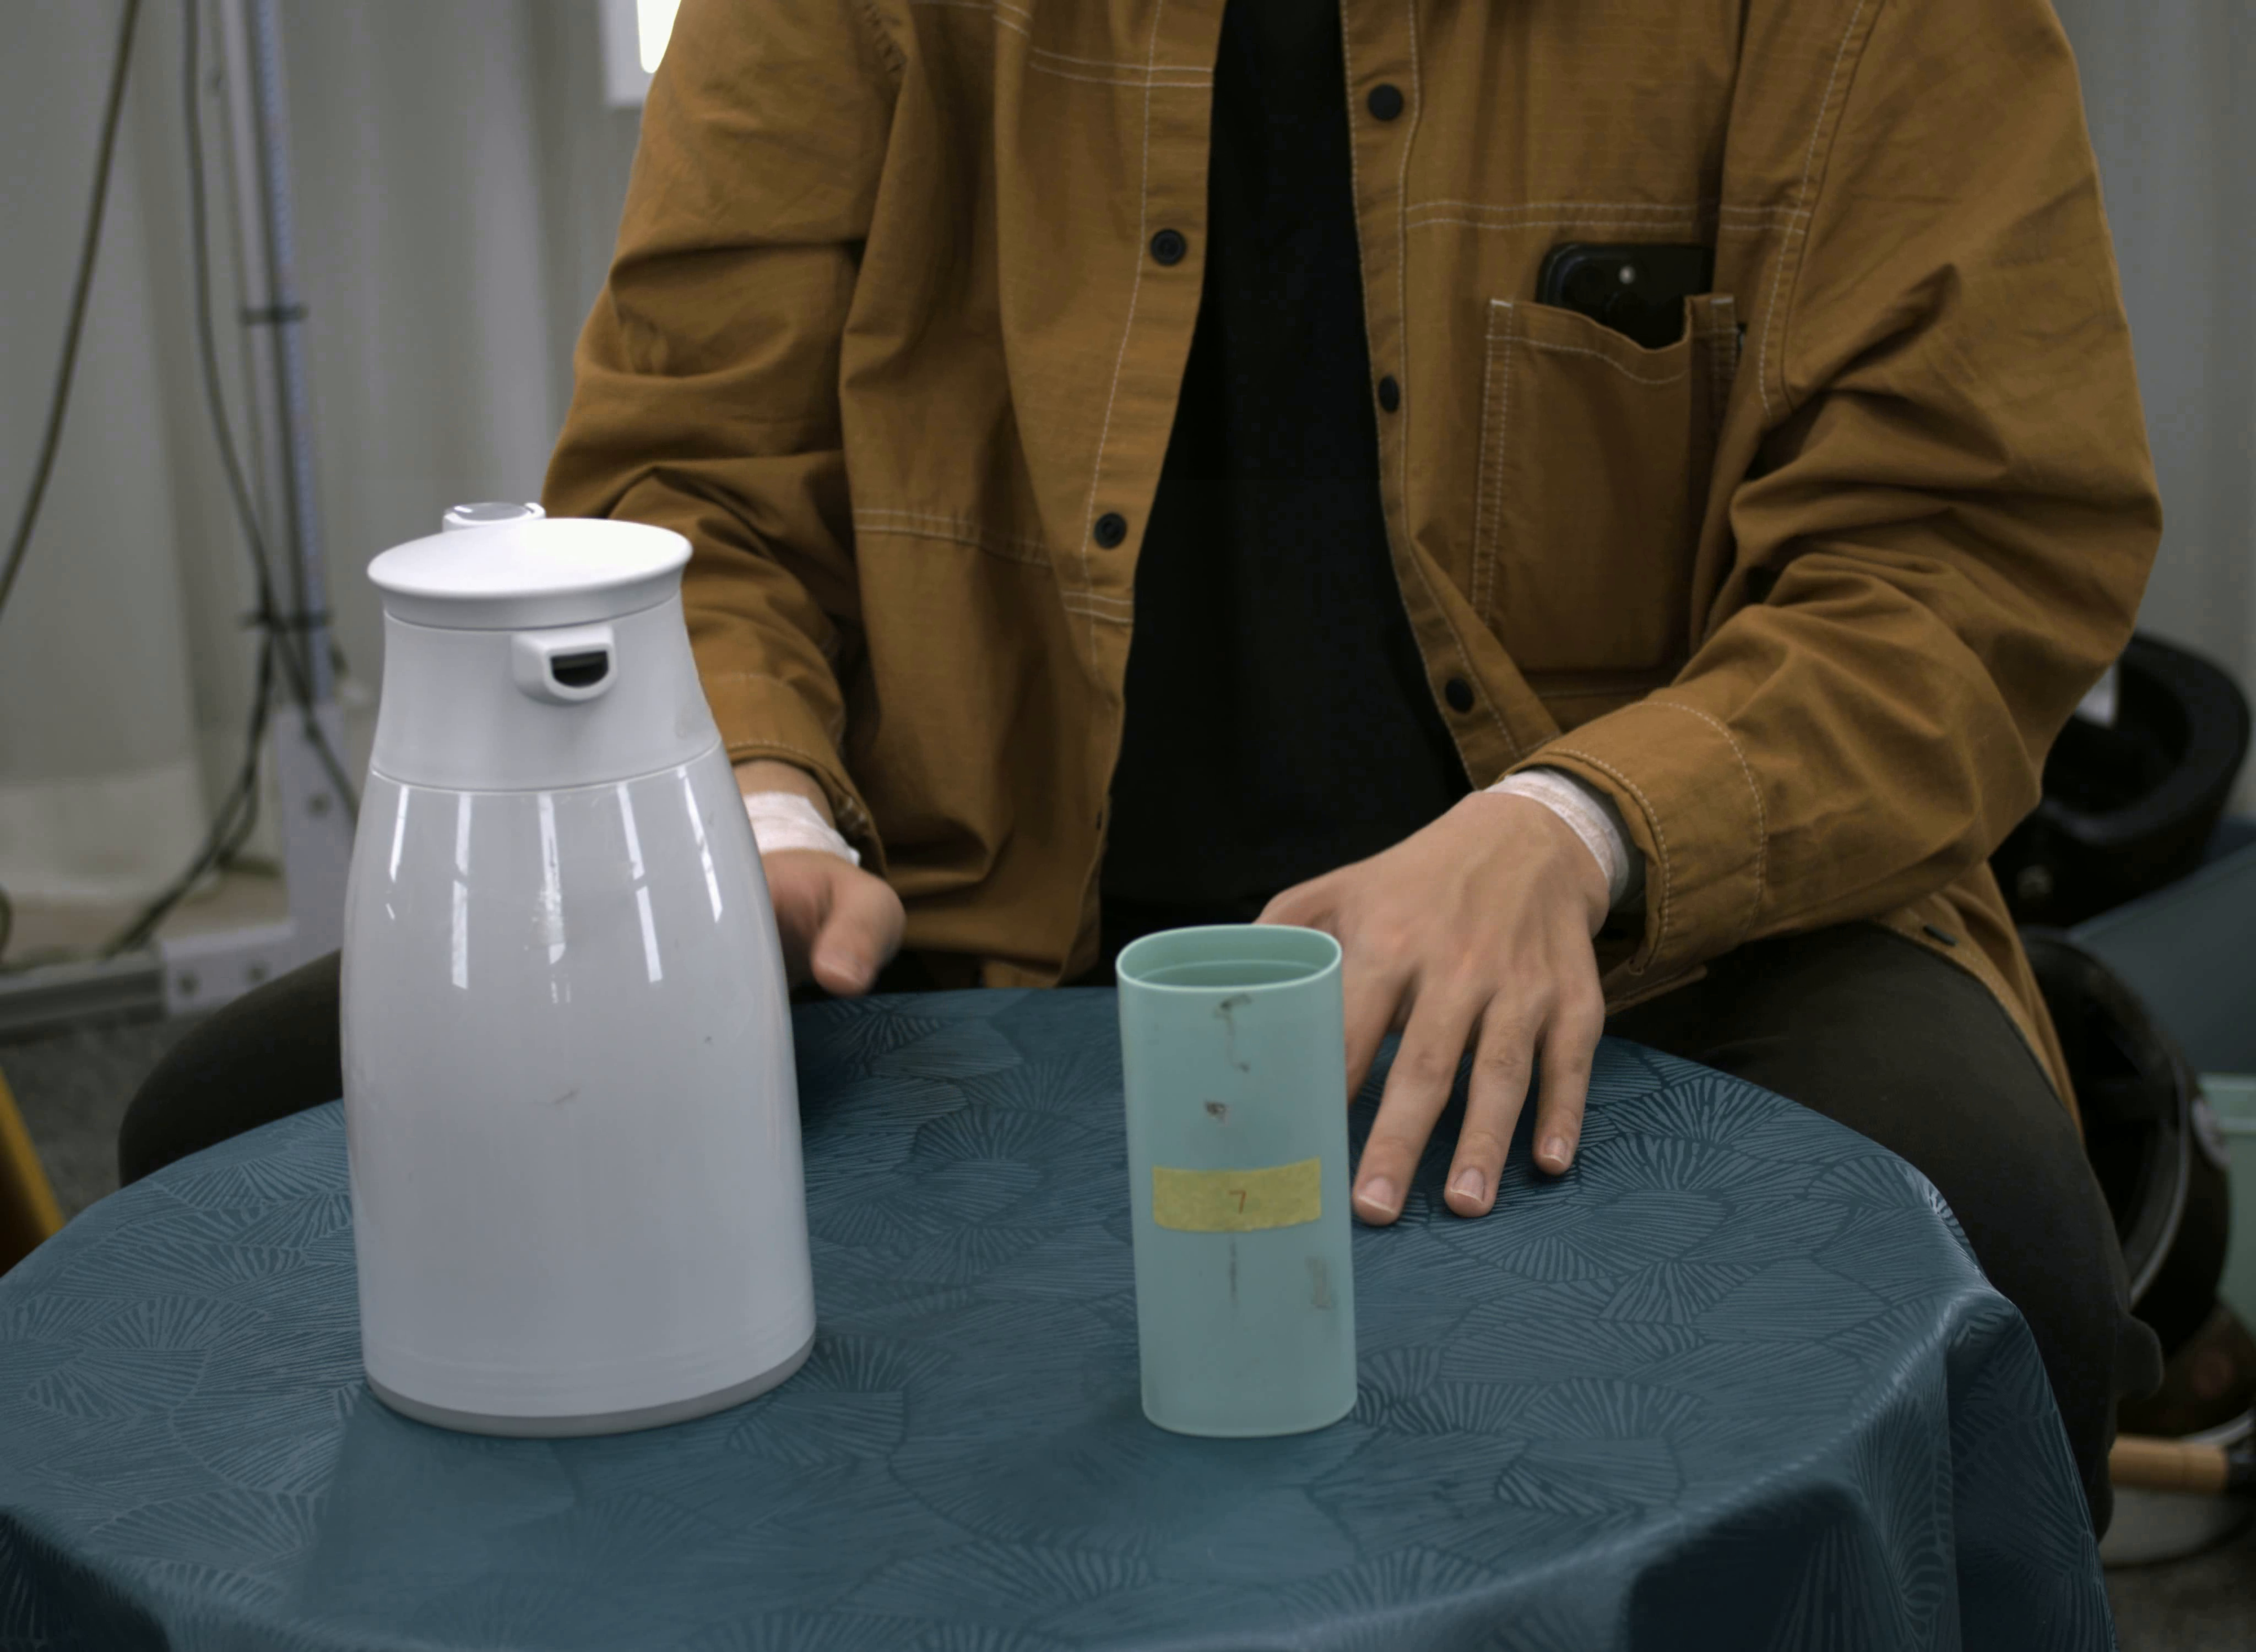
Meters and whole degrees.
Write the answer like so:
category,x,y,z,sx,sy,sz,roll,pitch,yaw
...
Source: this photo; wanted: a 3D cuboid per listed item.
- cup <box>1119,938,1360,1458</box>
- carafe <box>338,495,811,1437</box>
category,x,y,z,sx,sy,sz,roll,pitch,yaw
cup,0.032,0.102,1.517,0.066,0.132,0.067,-3,14,0
carafe,-0.170,0.032,1.582,0.132,0.248,0.169,-7,14,-17
